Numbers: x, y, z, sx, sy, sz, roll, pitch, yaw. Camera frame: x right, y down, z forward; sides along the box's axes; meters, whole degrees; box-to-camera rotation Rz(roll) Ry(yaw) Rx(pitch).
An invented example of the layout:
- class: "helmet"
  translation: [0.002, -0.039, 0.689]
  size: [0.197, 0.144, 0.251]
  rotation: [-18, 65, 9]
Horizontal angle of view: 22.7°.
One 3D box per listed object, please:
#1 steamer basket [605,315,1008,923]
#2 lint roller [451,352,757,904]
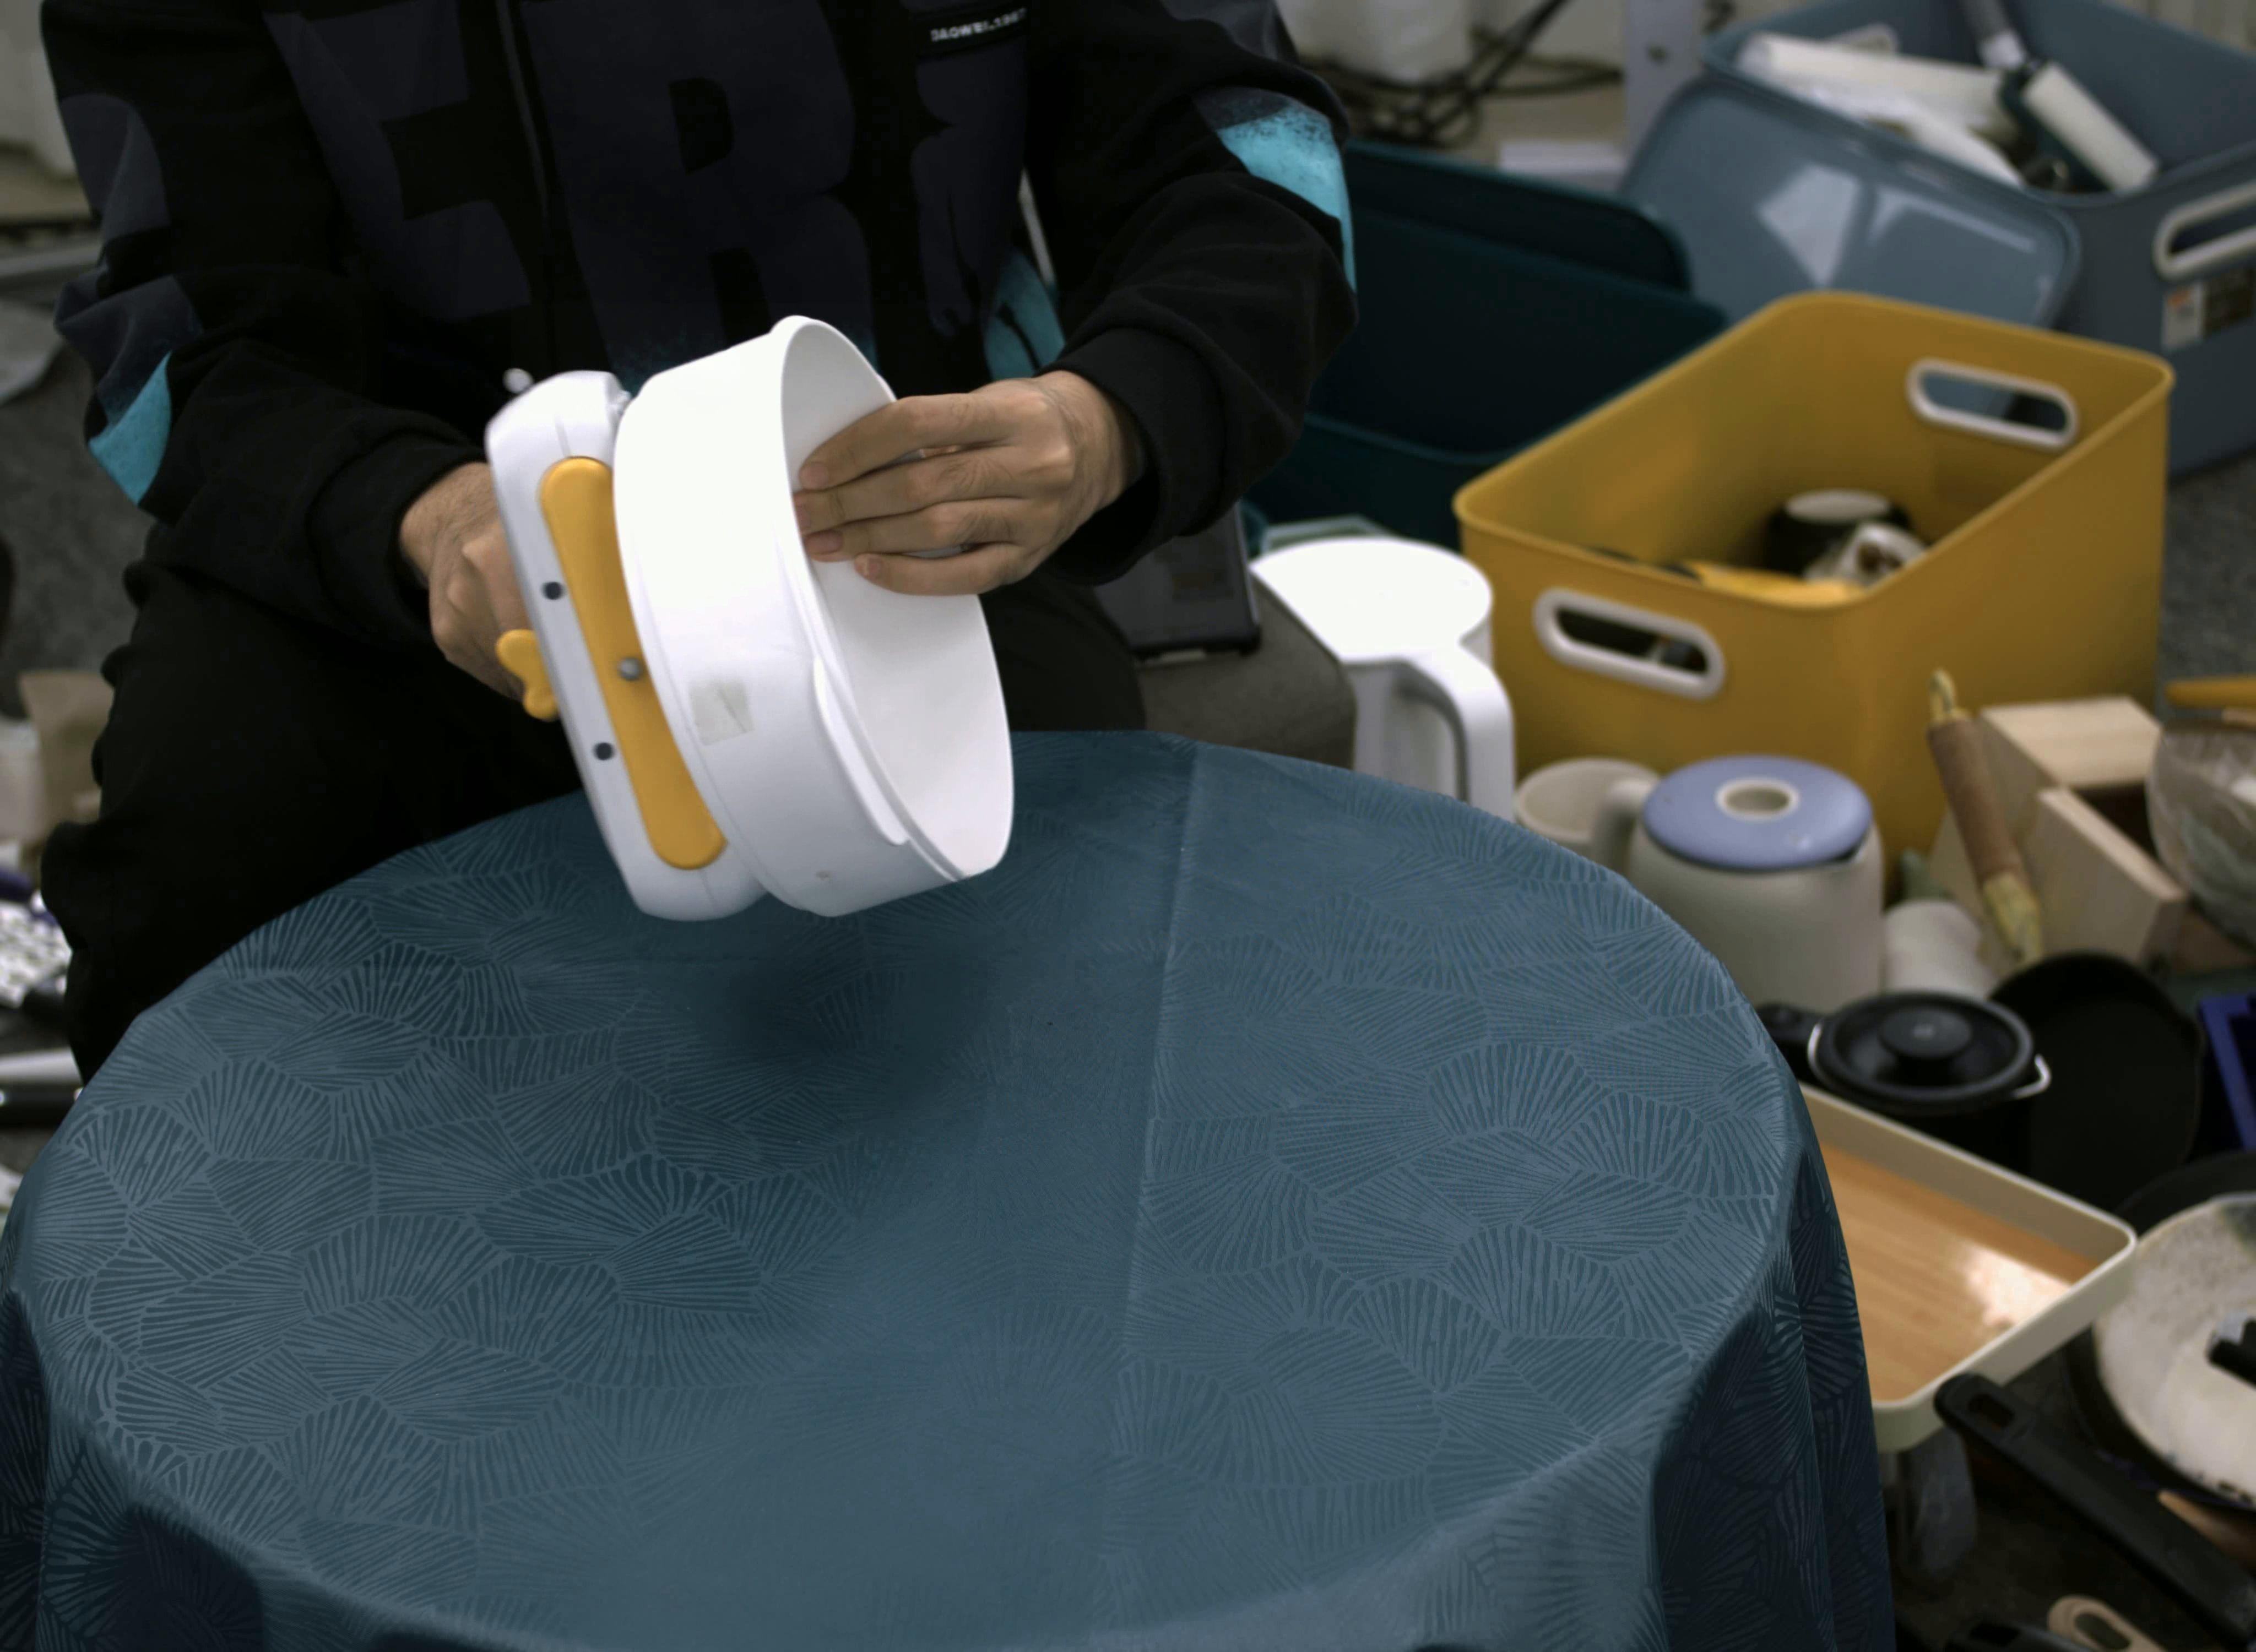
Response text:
- class: "steamer basket"
  translation: [-0.108, -0.066, 1.892]
  size: [0.068, 0.200, 0.234]
  rotation: [-18, 30, 14]
- class: "lint roller"
  translation: [-0.187, -0.070, 1.966]
  size: [0.074, 0.193, 0.193]
  rotation: [-24, 8, -3]
